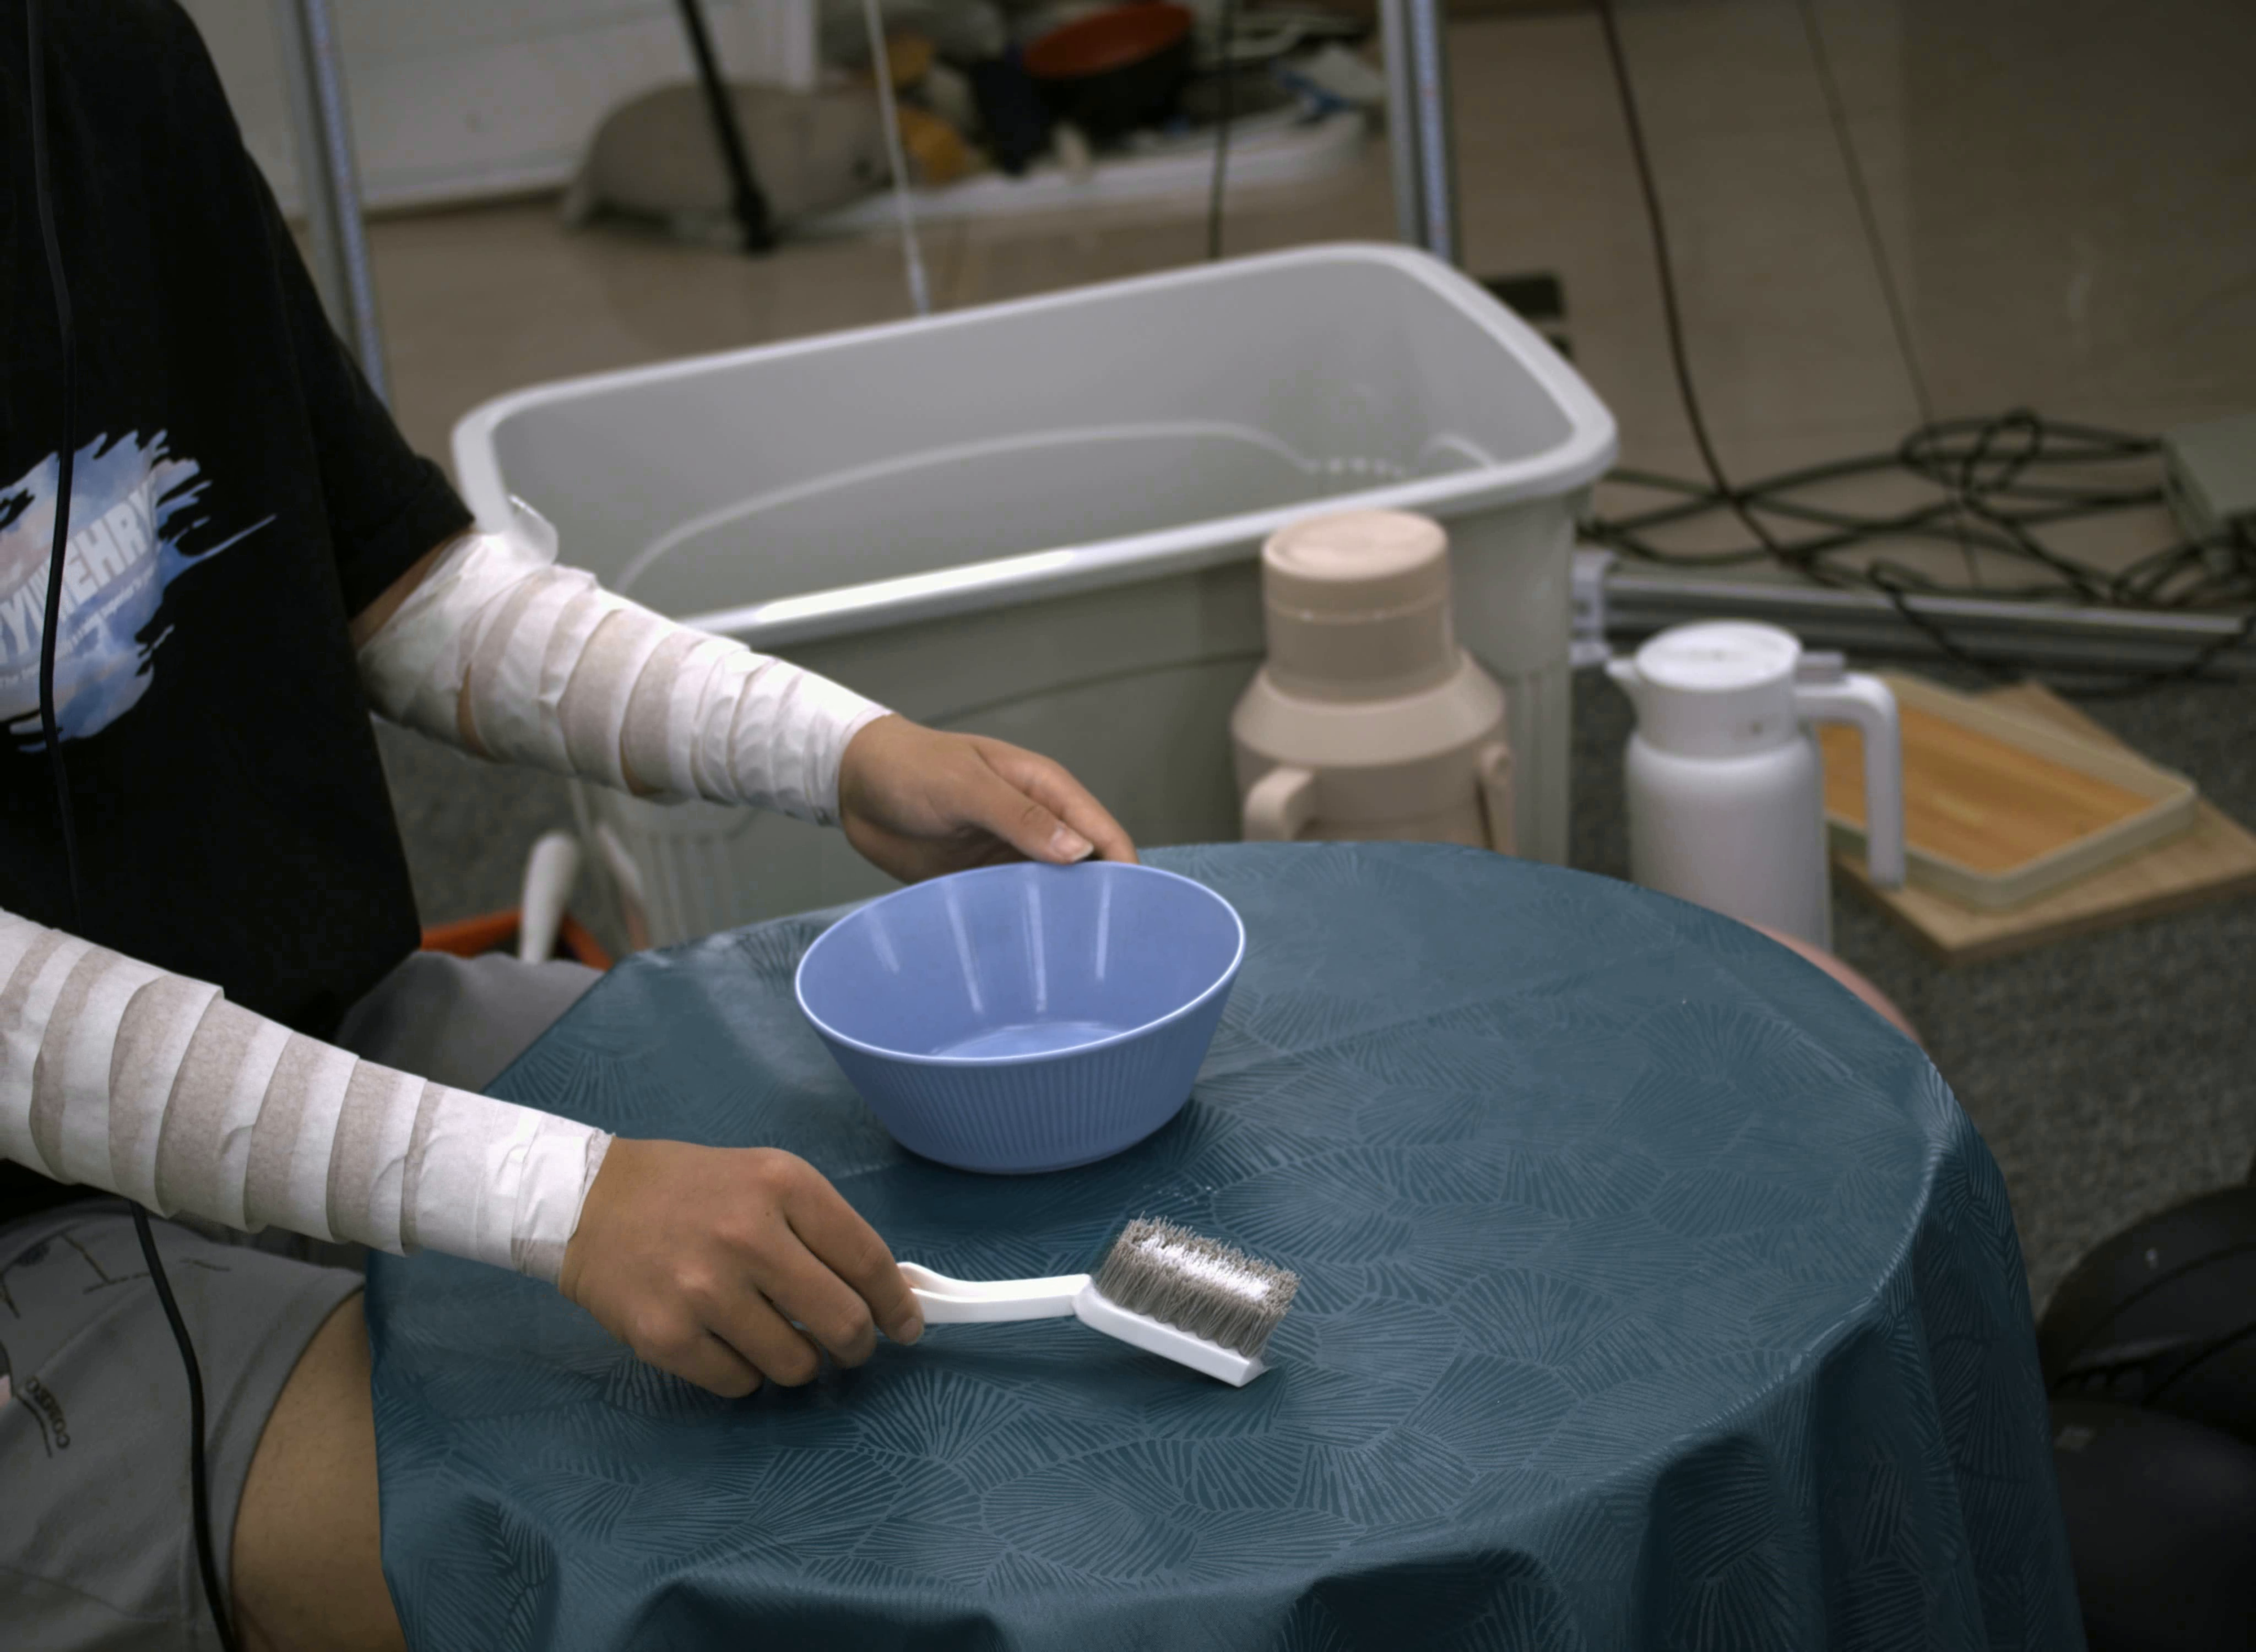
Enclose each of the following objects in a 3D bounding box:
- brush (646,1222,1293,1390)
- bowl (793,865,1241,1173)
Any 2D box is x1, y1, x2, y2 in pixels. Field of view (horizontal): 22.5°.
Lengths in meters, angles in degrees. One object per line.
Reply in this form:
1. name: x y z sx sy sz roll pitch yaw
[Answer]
1. brush: -0.060 0.159 2.036 0.243 0.051 0.034 8 29 16
2. bowl: -0.040 0.080 2.200 0.176 0.071 0.173 -6 24 3
